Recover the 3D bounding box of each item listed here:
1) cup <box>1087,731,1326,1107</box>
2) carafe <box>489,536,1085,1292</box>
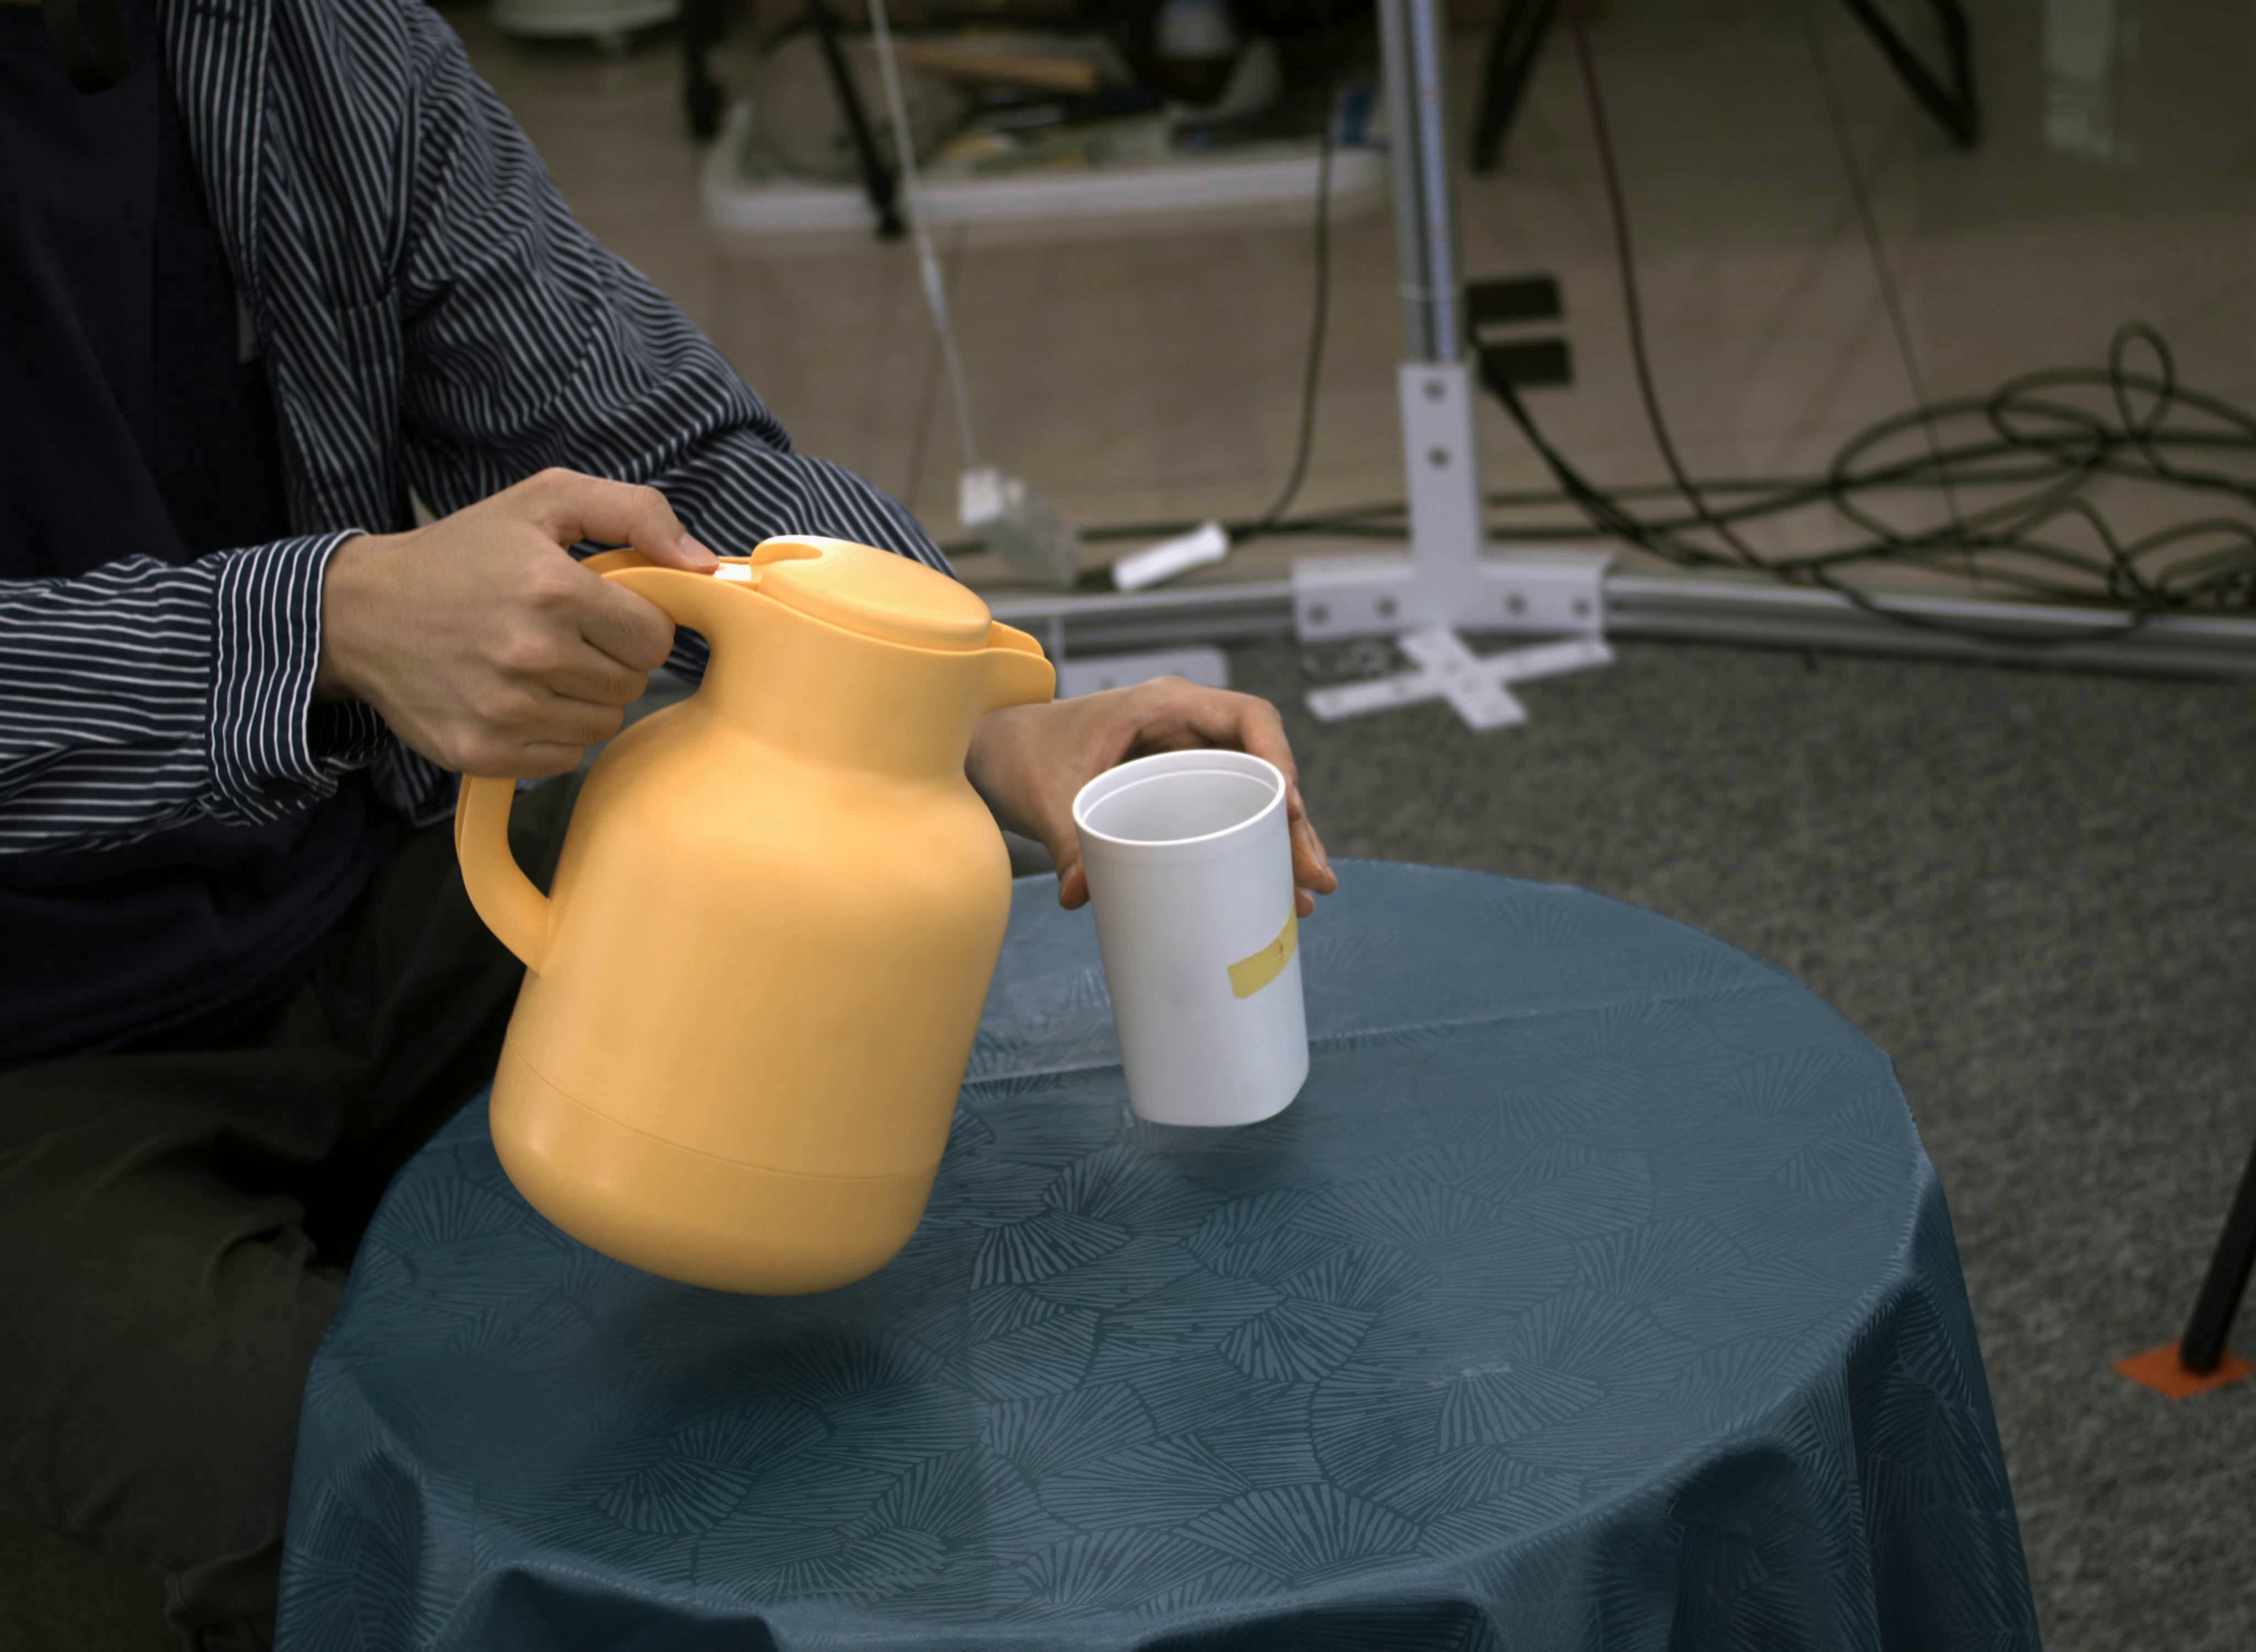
[{"bbox_3d":[0.034,0.037,2.153,0.081,0.127,0.080,-8,26,4],"label":"cup"},{"bbox_3d":[-0.133,0.023,2.034,0.202,0.263,0.161,12,17,-18],"label":"carafe"}]
